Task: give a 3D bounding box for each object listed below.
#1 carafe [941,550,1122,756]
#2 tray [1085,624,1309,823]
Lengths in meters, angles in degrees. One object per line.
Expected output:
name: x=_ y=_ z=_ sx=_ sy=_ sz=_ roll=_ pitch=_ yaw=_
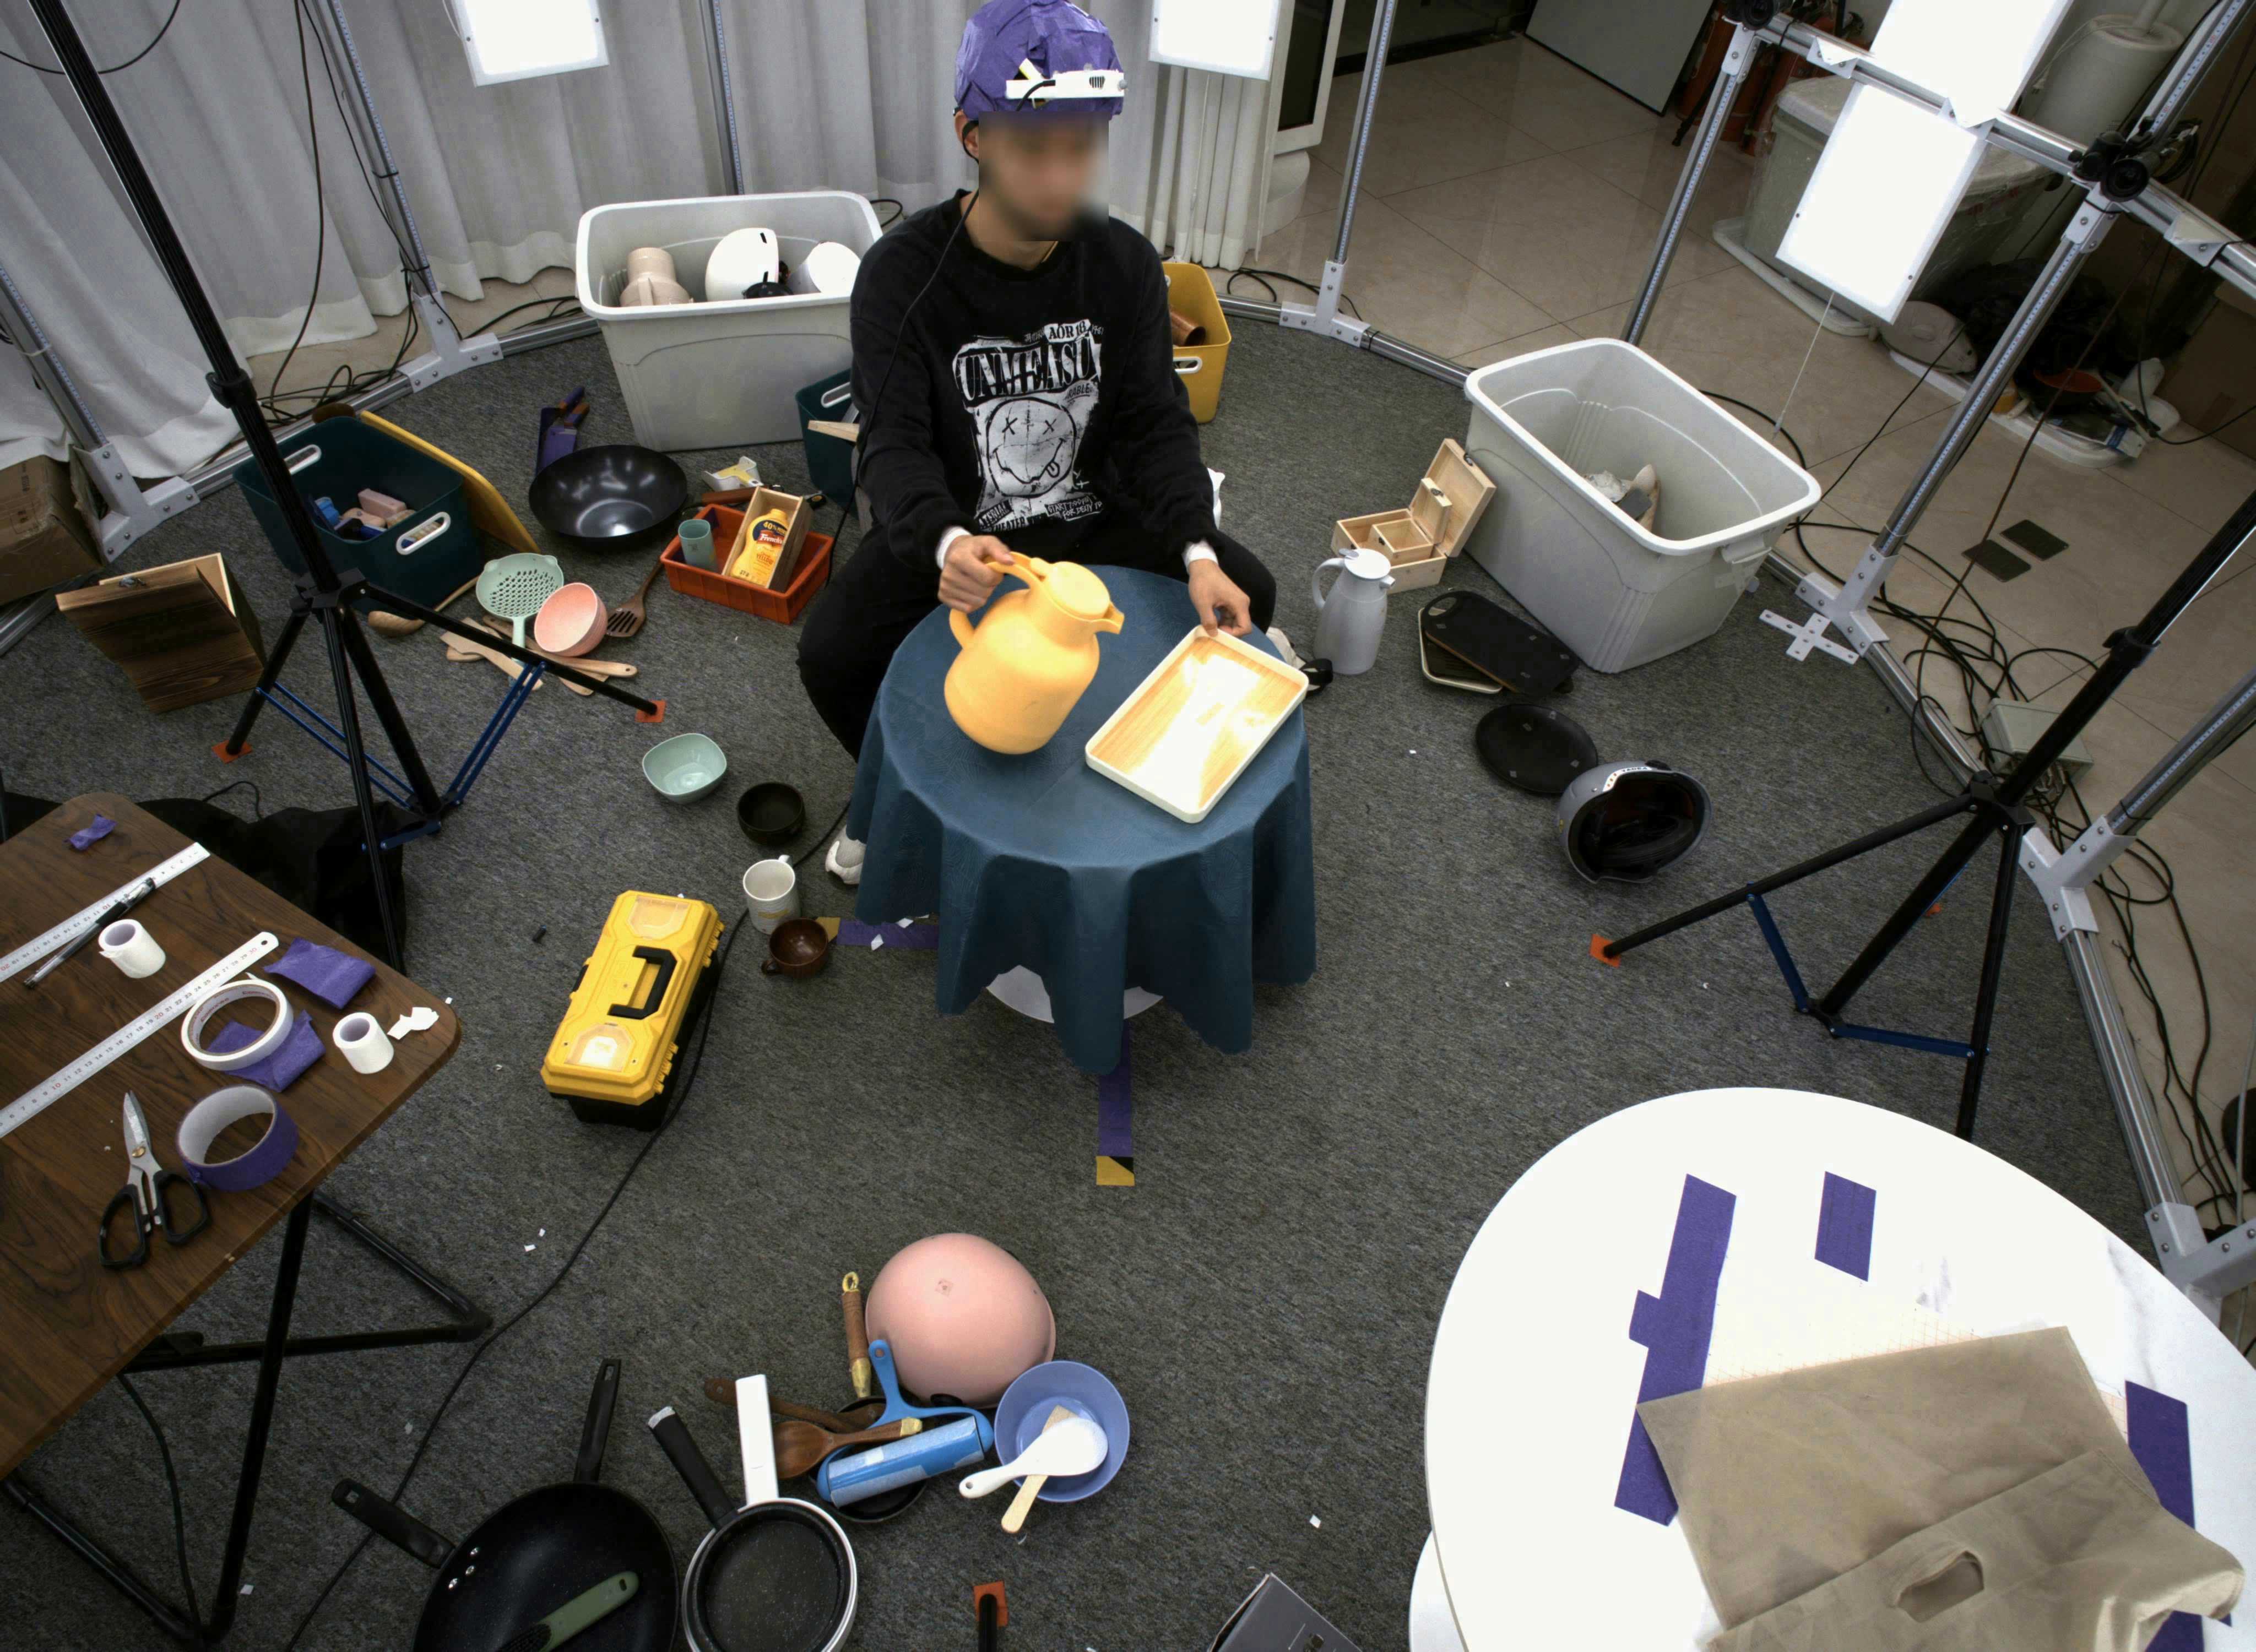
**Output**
carafe: x=-0.139 y=-0.231 z=1.642 sx=0.201 sy=0.256 sz=0.167 roll=32 pitch=39 yaw=-9
tray: x=0.097 y=-0.148 z=1.770 sx=0.193 sy=0.027 sz=0.304 roll=30 pitch=58 yaw=20
